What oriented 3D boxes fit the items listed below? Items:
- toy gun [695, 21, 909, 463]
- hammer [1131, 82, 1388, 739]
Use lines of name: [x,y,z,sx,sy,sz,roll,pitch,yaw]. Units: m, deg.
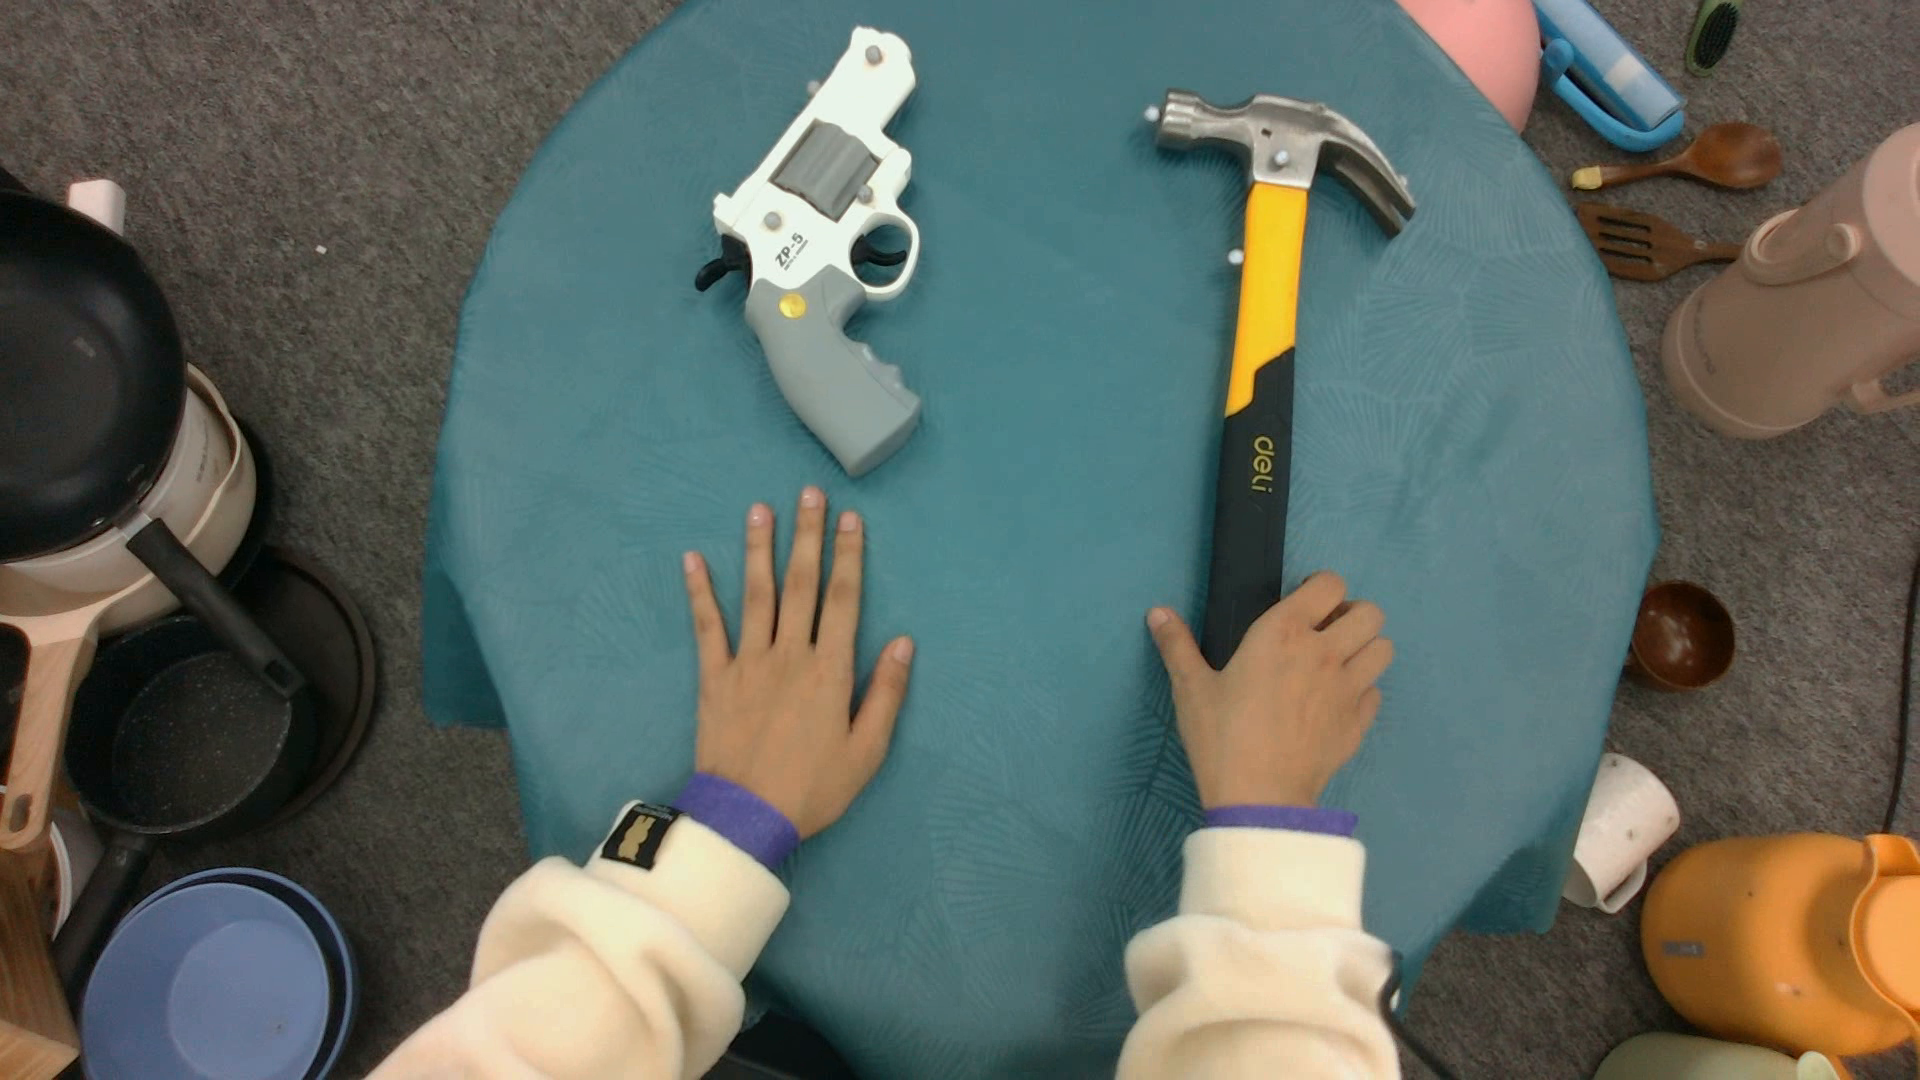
toy gun: [-0.057,-0.154,0.685,0.141,0.038,0.209,29,74,5]
hammer: [0.139,-0.071,0.676,0.131,0.032,0.339,8,72,-4]
